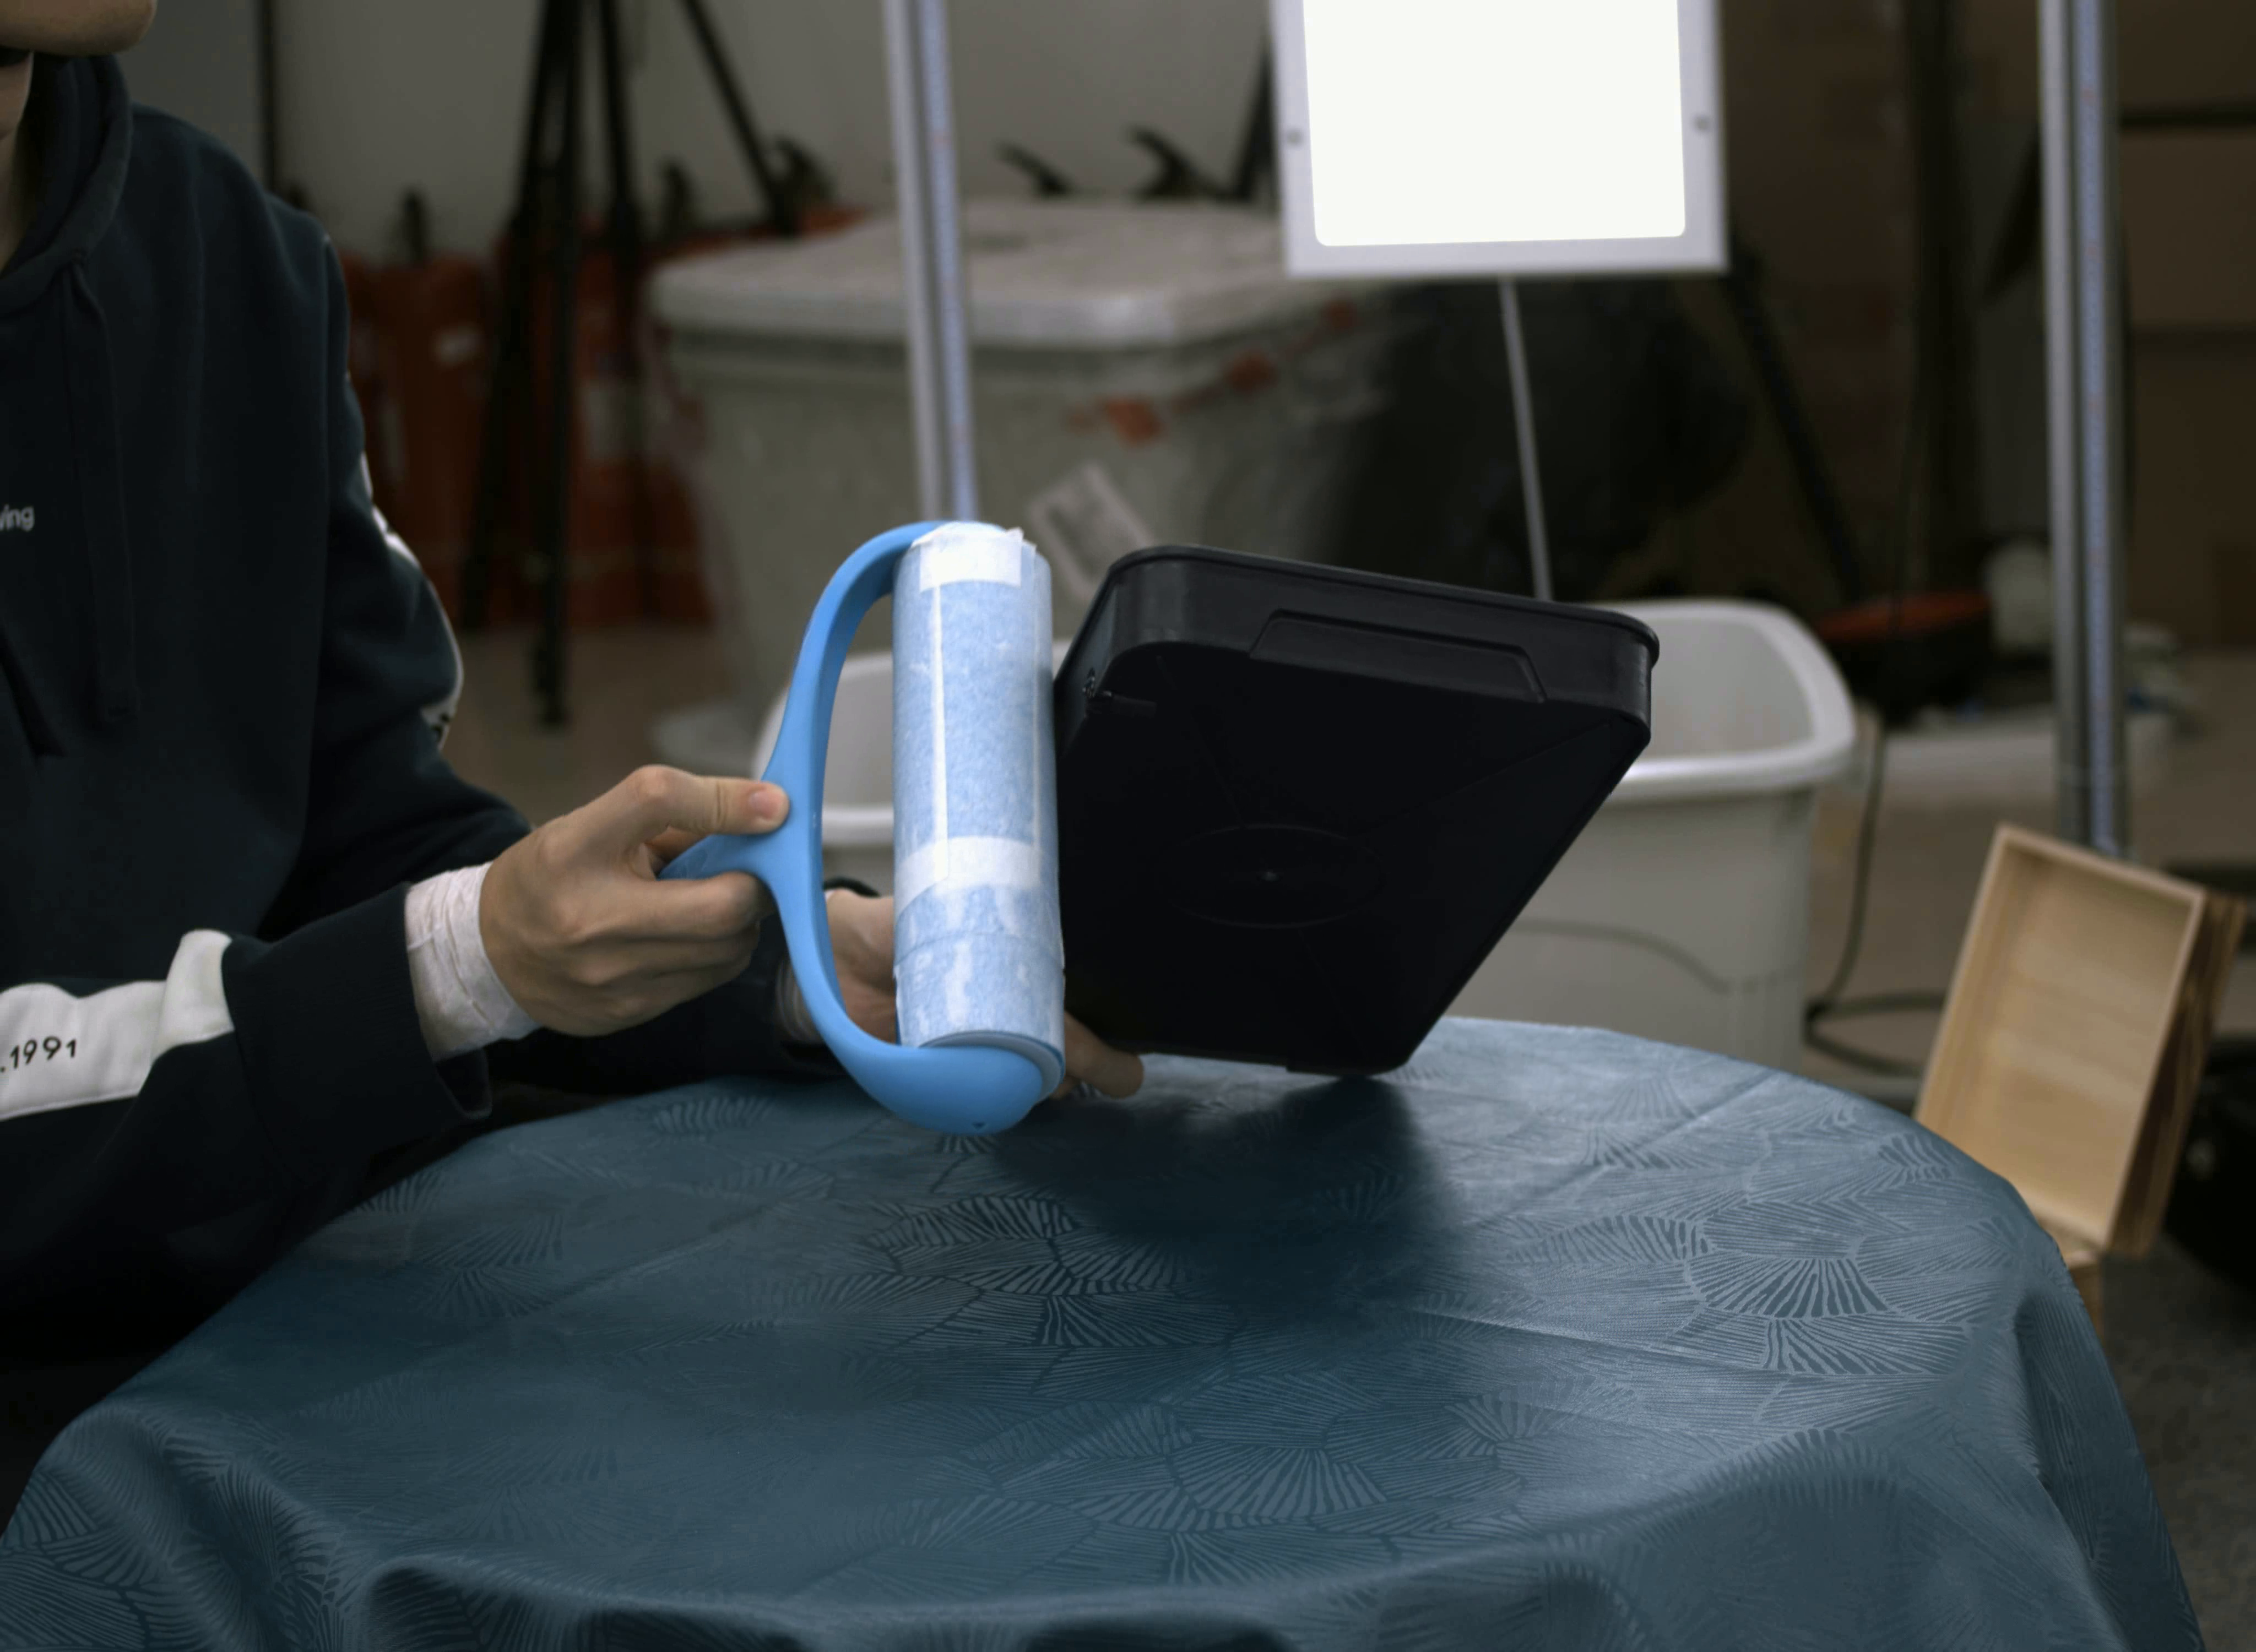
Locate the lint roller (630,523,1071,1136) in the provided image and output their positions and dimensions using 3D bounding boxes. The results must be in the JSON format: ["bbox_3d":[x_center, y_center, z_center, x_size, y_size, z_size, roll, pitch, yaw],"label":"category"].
[{"bbox_3d":[-0.101,0.017,1.798,0.183,0.229,0.067,-21,-36,23],"label":"lint roller"}]

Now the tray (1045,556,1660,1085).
[{"bbox_3d":[0.047,0.006,1.865,0.182,0.037,0.322,8,-26,-12],"label":"tray"}]
